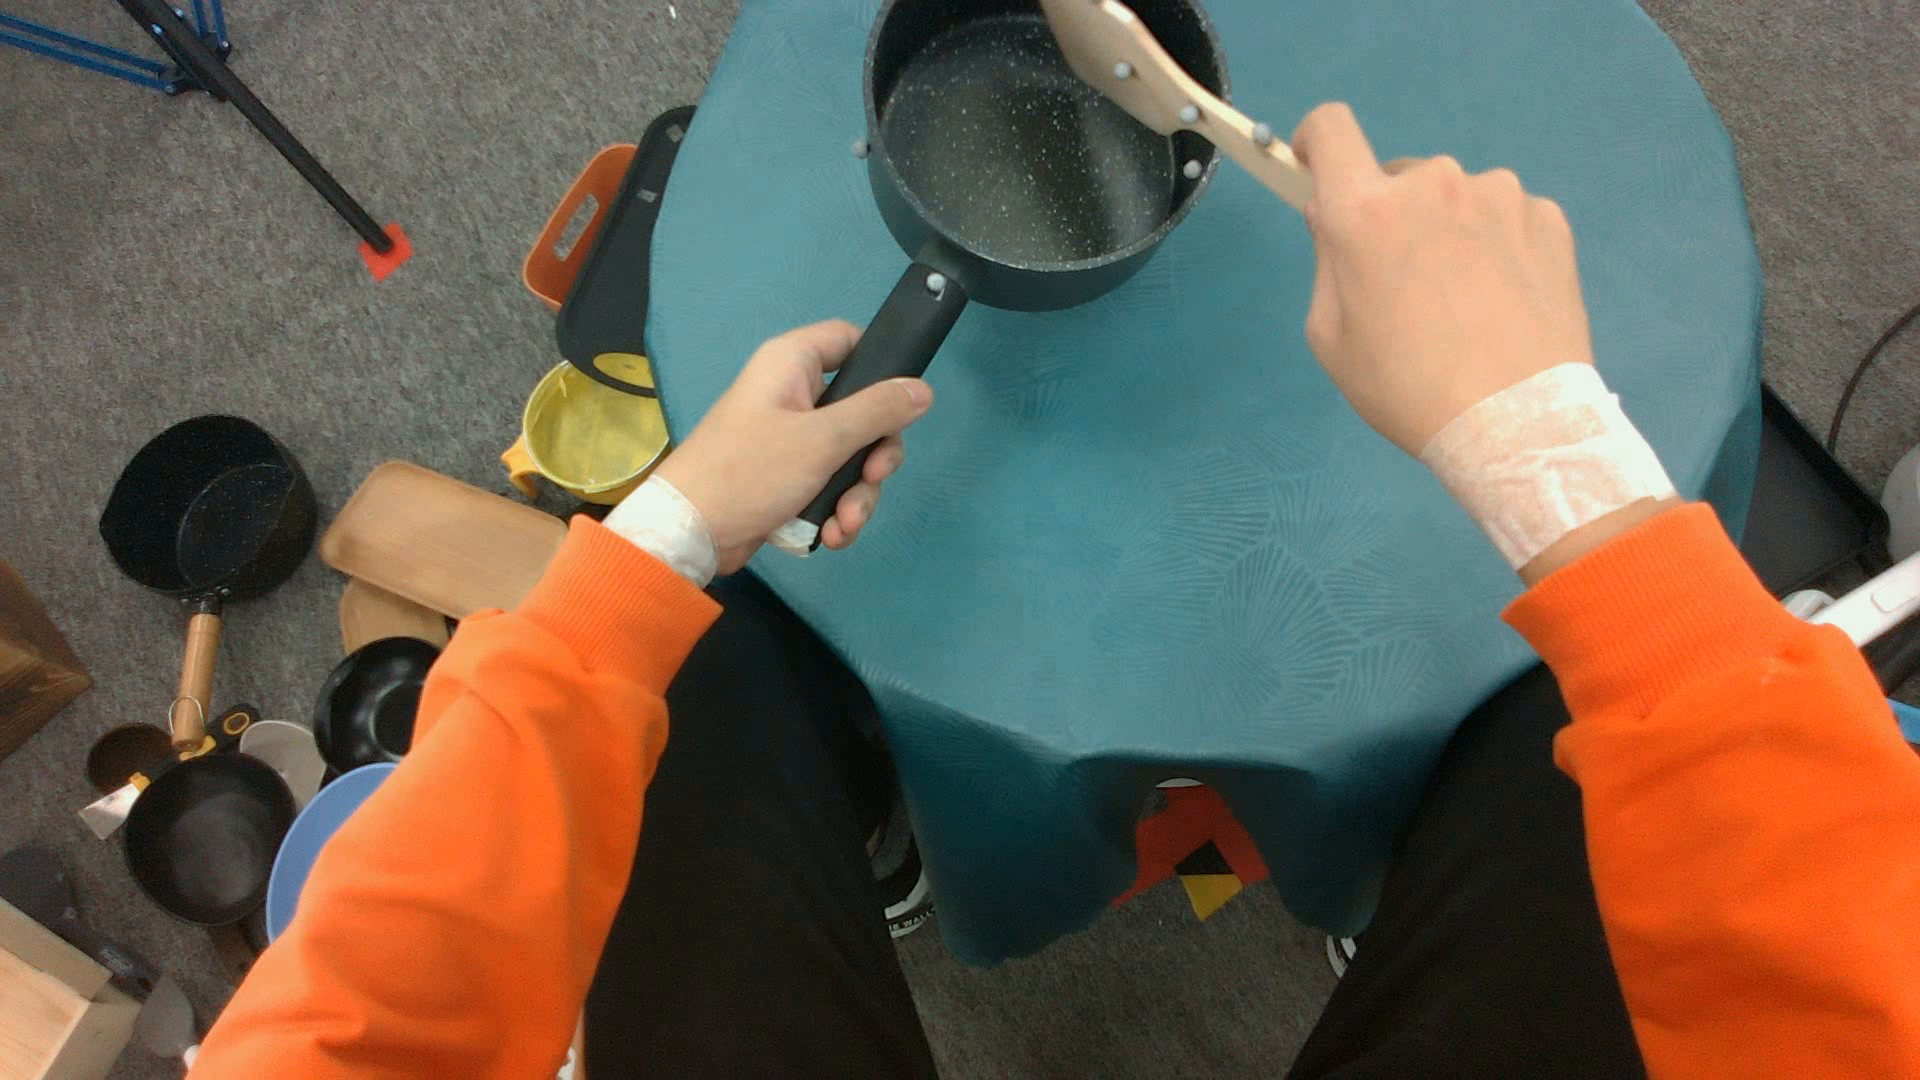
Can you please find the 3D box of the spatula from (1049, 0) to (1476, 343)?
[{"bbox_3d":[0.113,-0.175,0.574,0.010,0.072,0.293,-30,55,-7],"label":"spatula"}]

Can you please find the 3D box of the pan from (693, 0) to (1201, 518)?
[{"bbox_3d":[-0.017,-0.144,0.648,0.172,0.086,0.329,32,76,0],"label":"pan"}]
